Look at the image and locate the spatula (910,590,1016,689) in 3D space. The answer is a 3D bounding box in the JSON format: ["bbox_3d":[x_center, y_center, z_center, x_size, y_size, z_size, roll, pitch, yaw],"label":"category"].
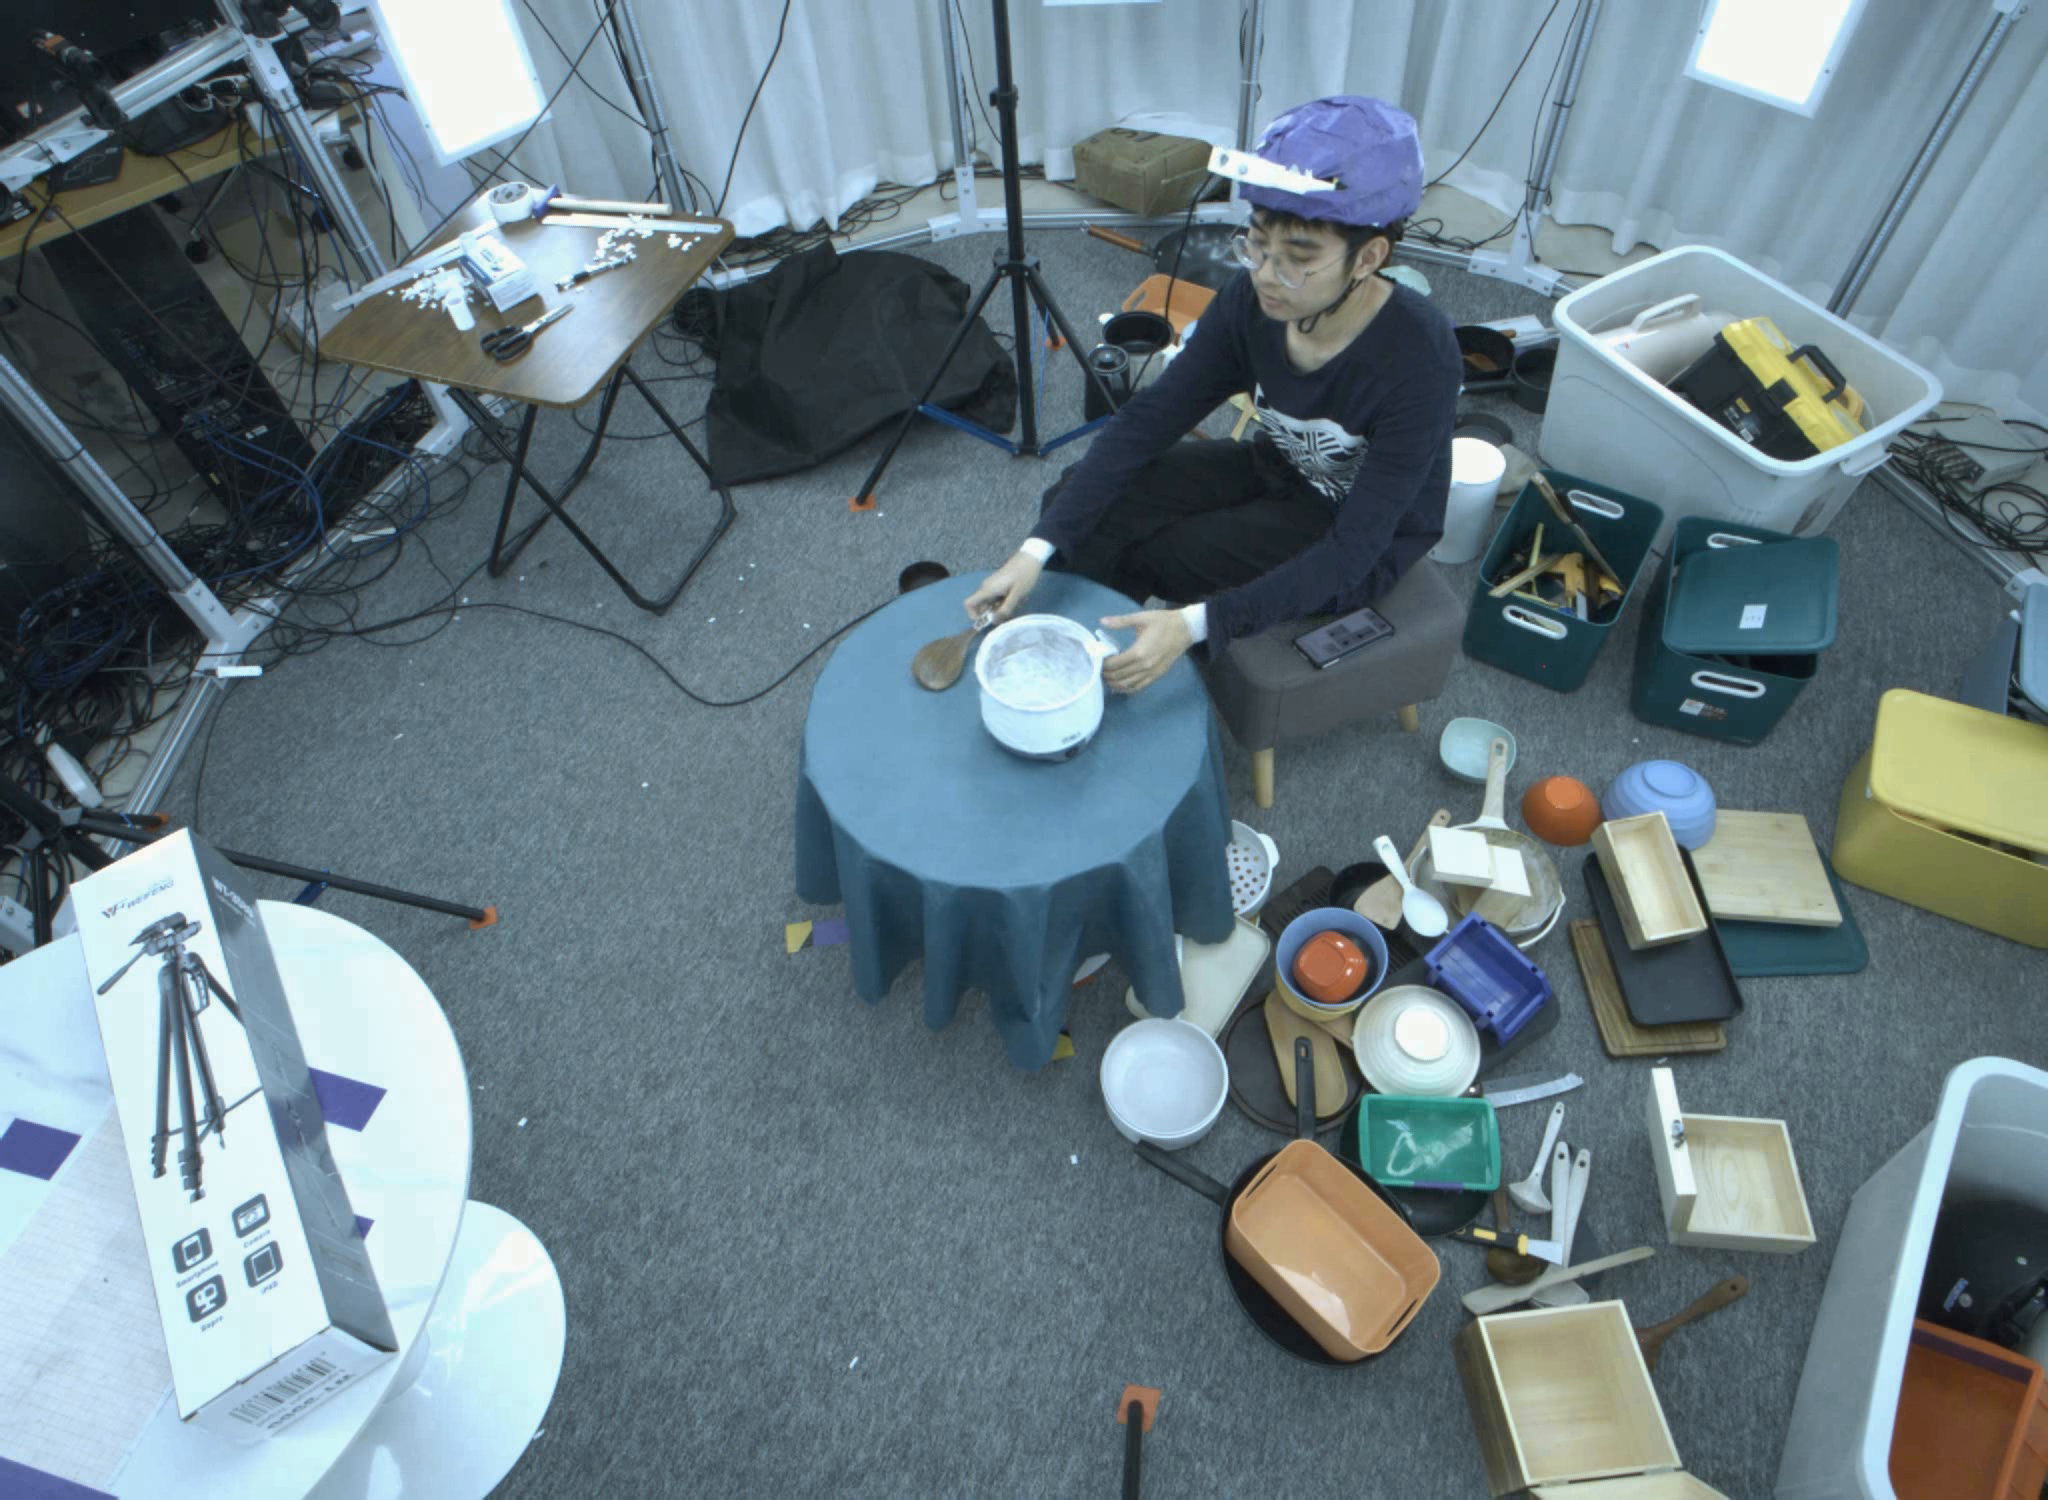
[{"bbox_3d":[-0.086,-0.174,1.892,0.072,0.009,0.217,46,71,-2],"label":"spatula"}]

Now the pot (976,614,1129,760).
[{"bbox_3d":[0.048,-0.100,1.778,0.235,0.138,0.175,-28,61,-15],"label":"pot"}]
